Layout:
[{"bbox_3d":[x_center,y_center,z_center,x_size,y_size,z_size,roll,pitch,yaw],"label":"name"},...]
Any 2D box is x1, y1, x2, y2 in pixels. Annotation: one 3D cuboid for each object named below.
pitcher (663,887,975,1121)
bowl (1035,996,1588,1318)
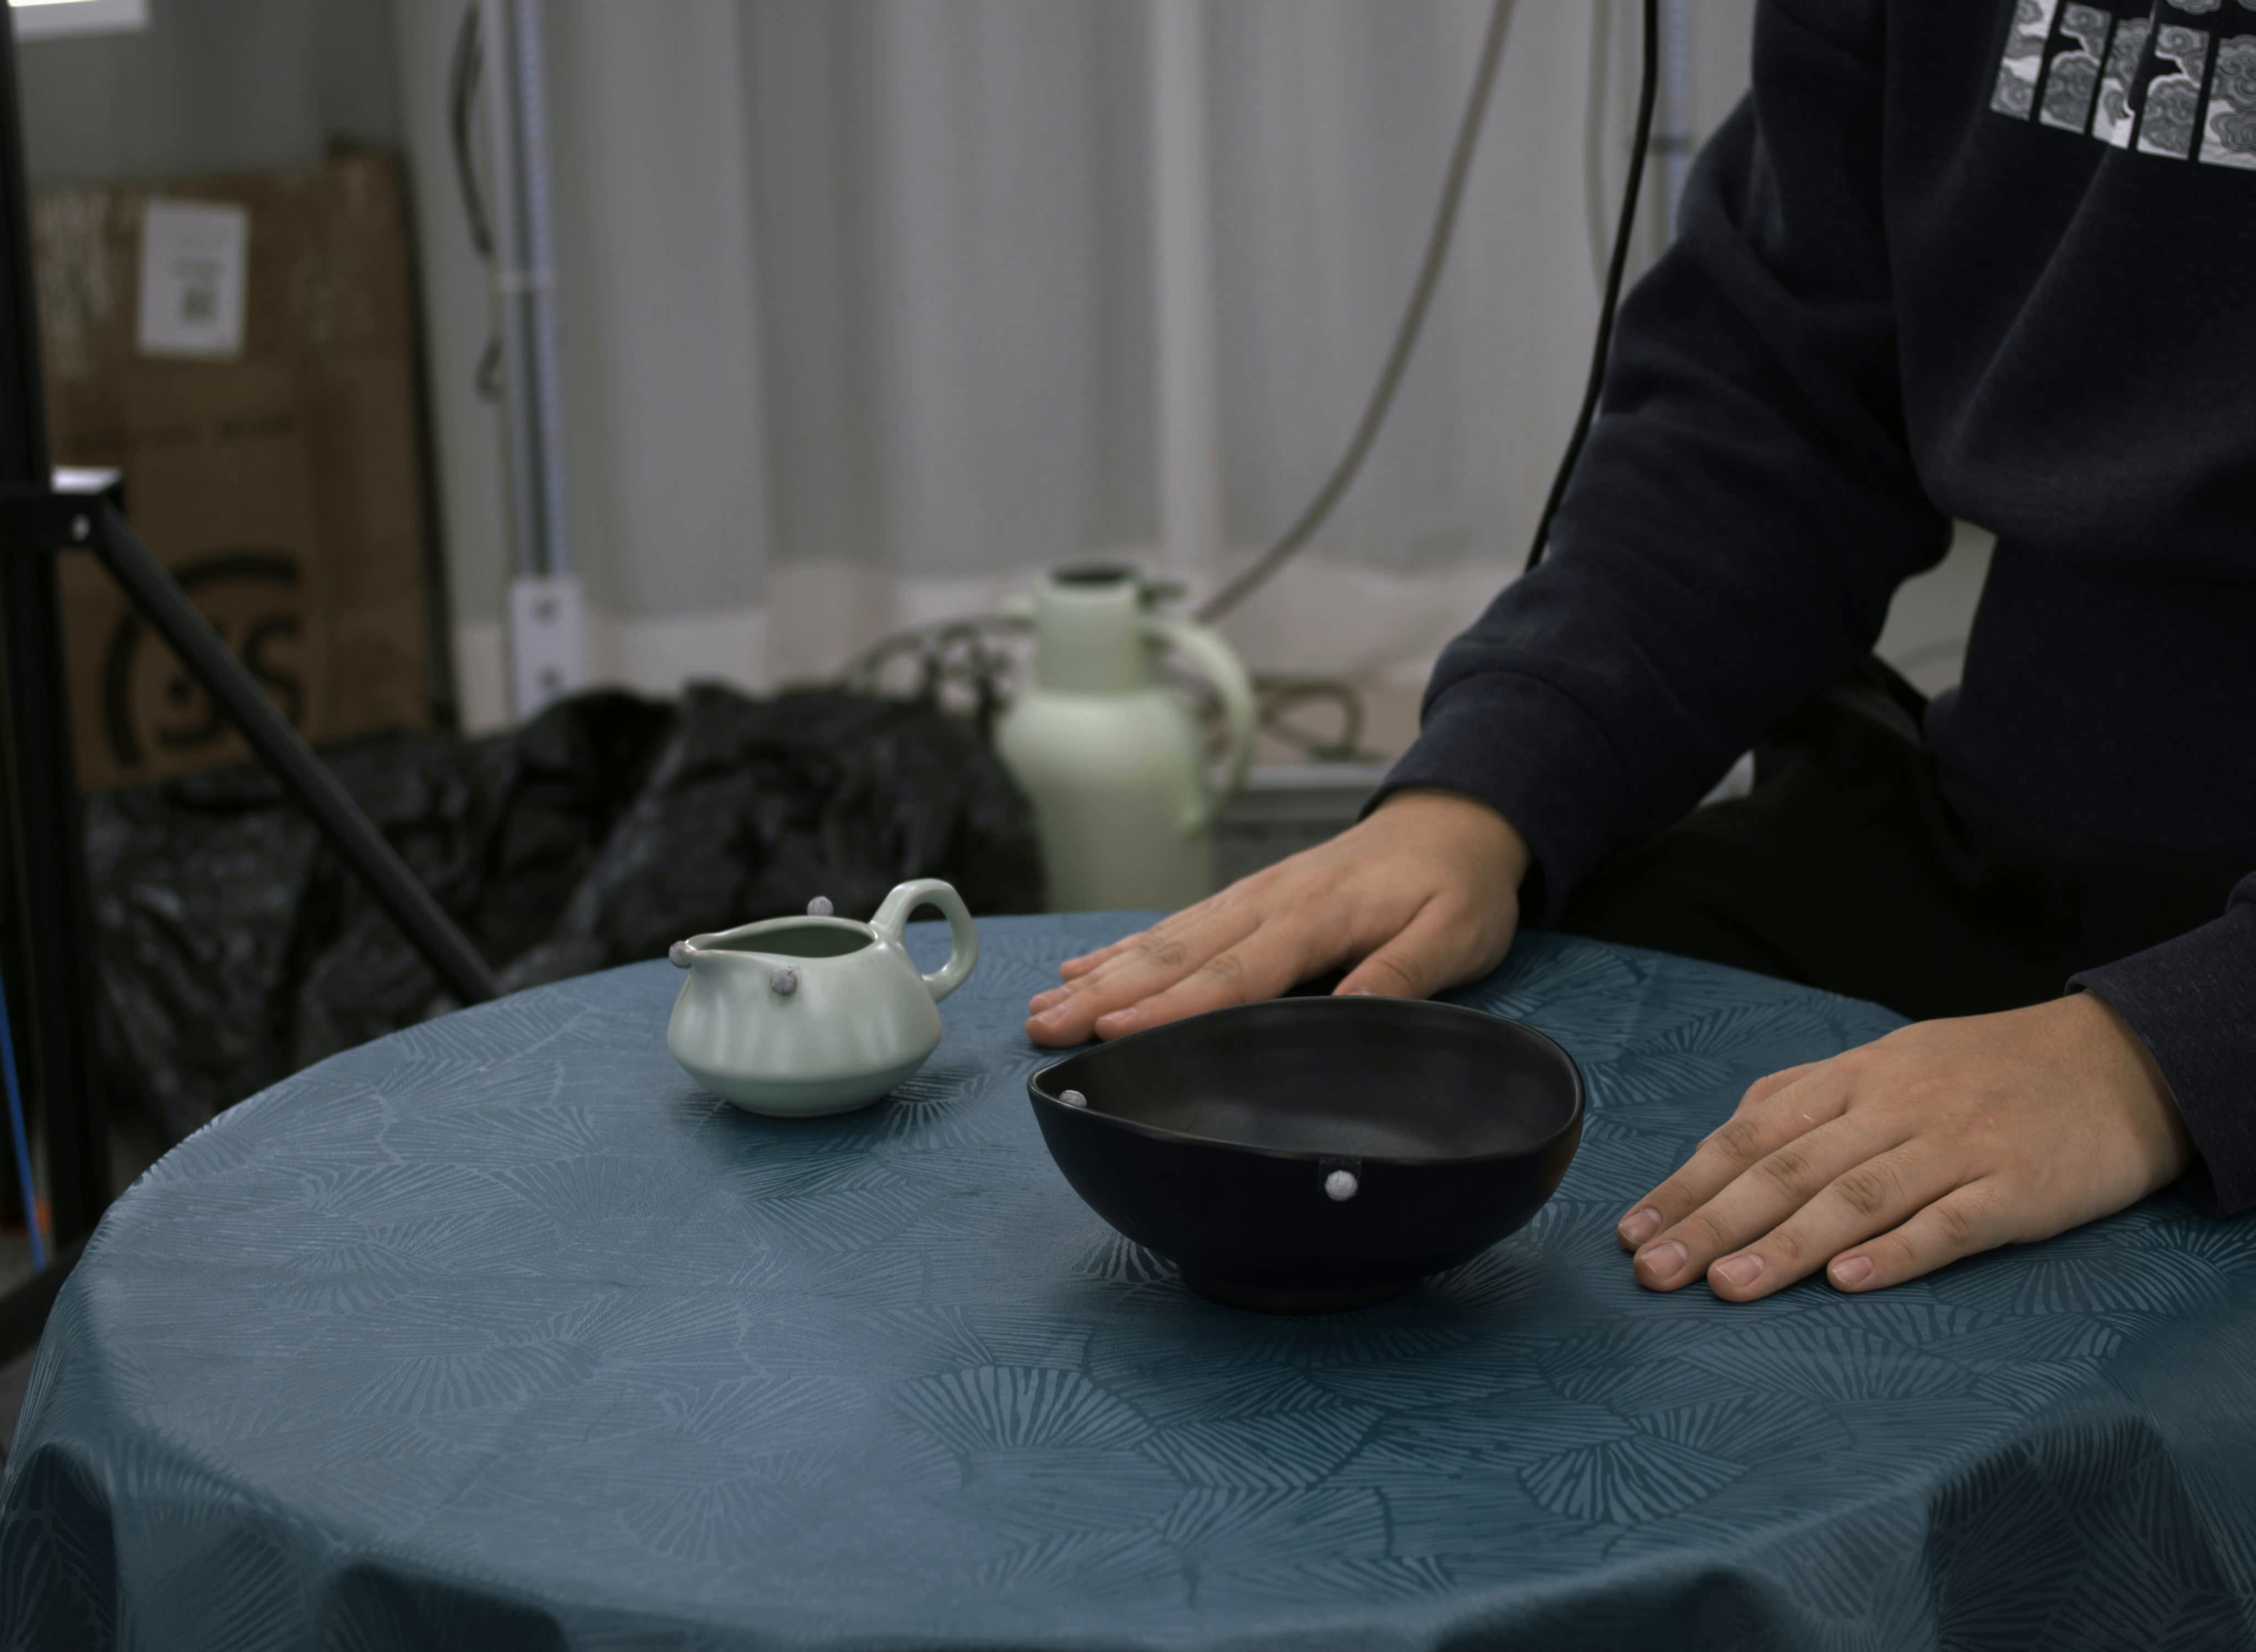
[{"bbox_3d":[-0.093,0.055,1.658,0.105,0.060,0.088,-12,19,-37],"label":"pitcher"},{"bbox_3d":[0.049,0.096,1.476,0.174,0.067,0.134,10,19,40],"label":"bowl"}]
